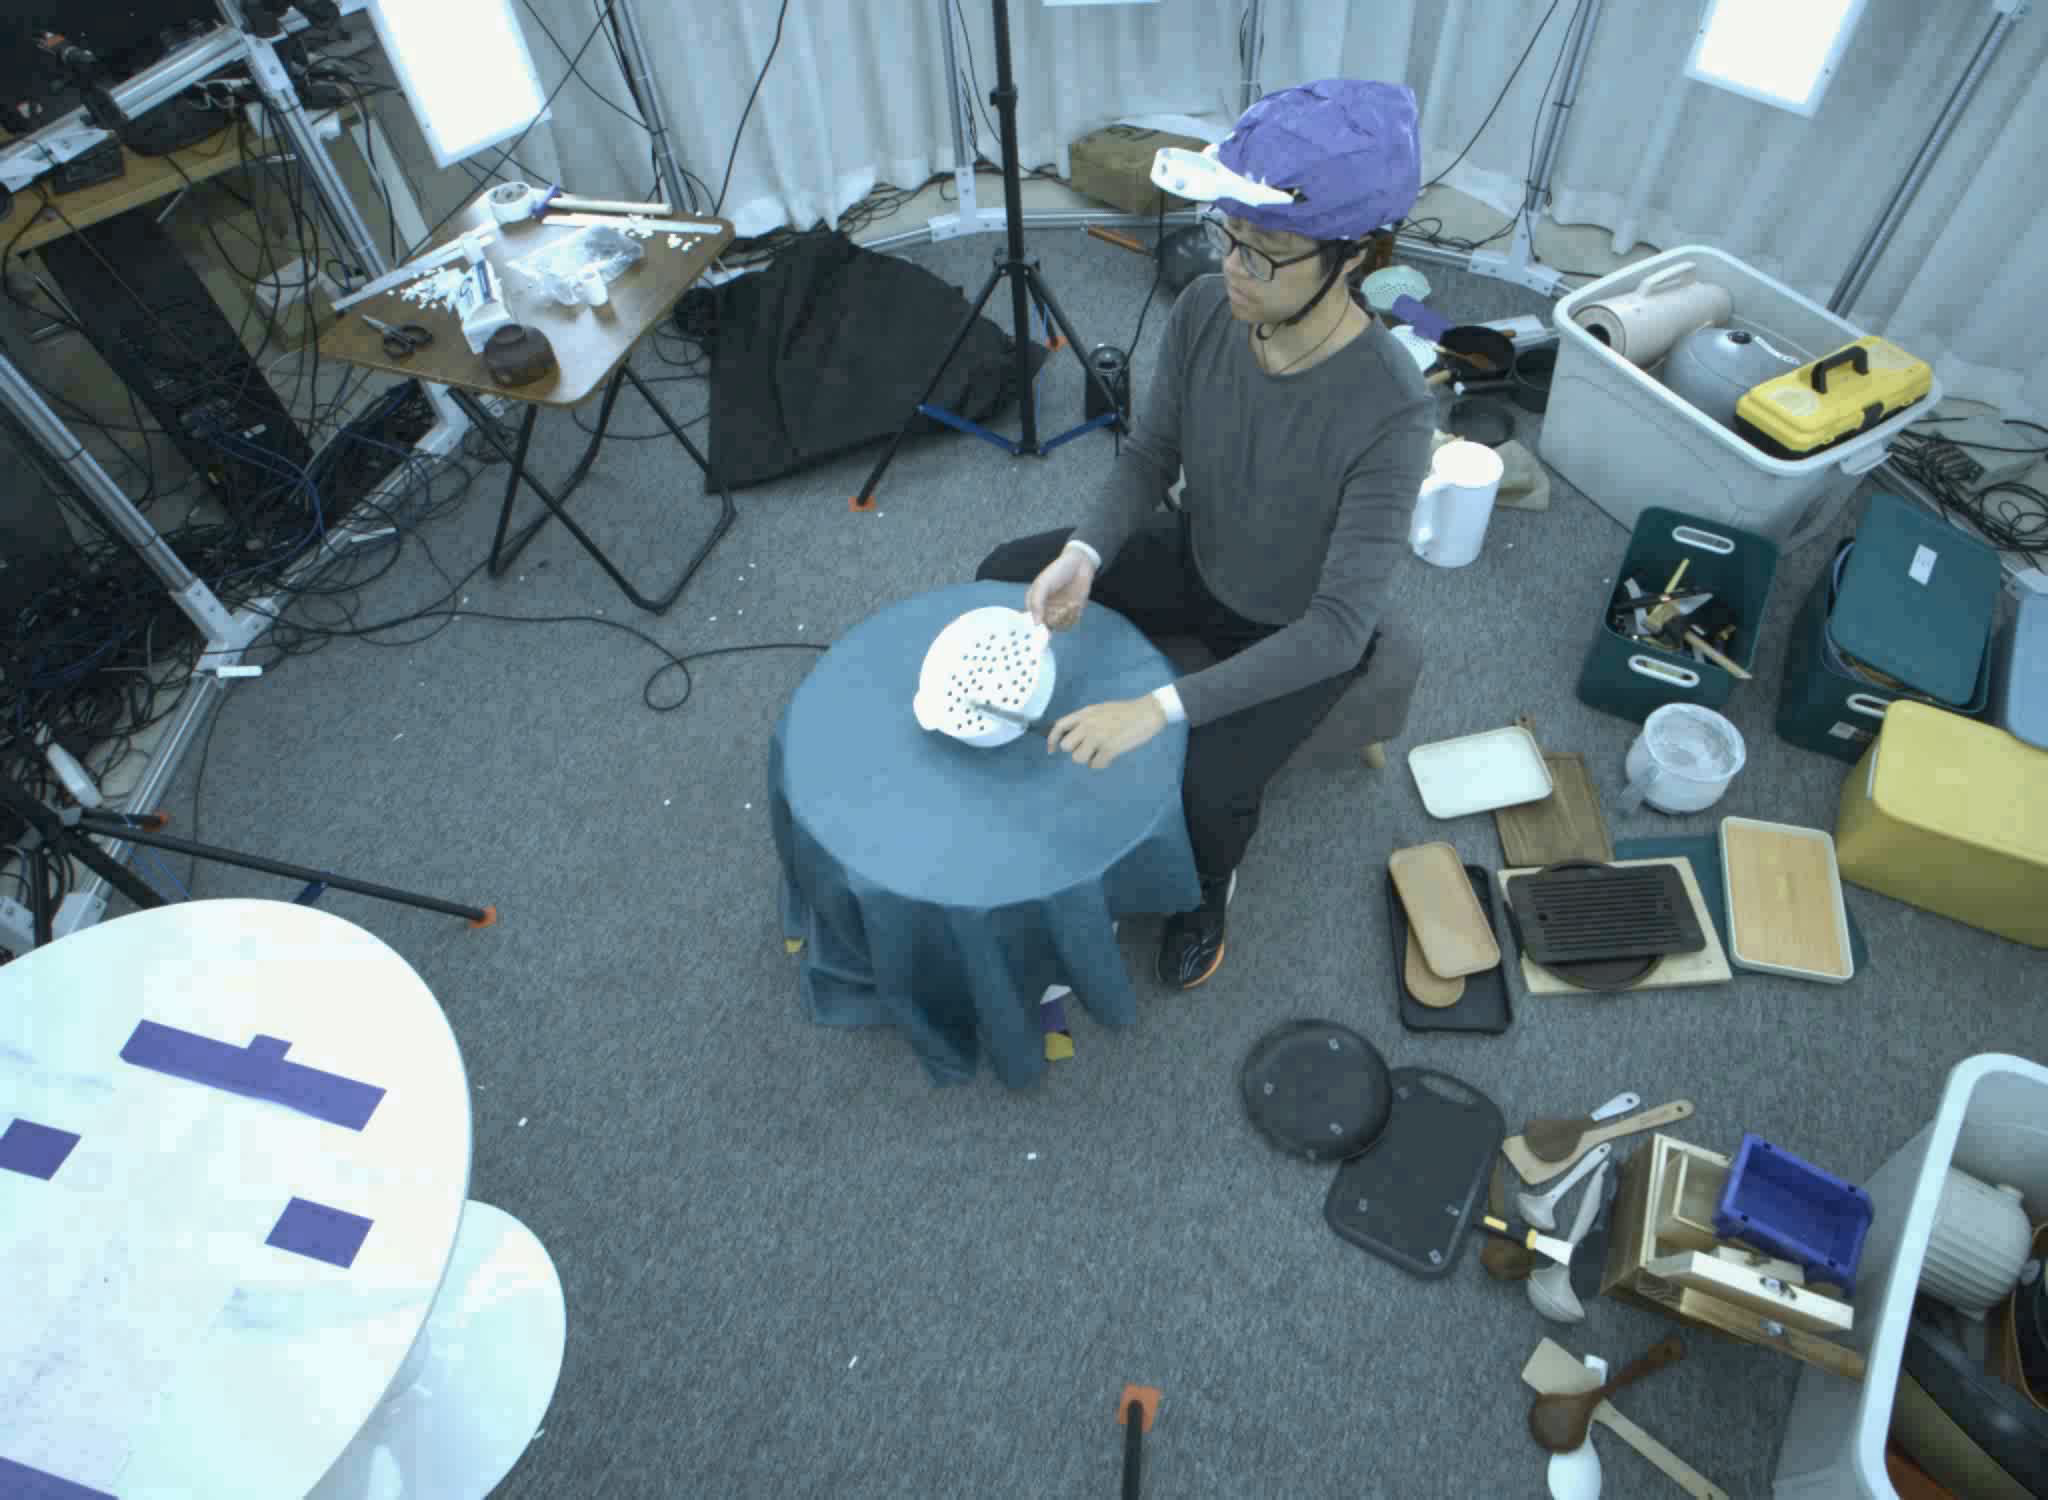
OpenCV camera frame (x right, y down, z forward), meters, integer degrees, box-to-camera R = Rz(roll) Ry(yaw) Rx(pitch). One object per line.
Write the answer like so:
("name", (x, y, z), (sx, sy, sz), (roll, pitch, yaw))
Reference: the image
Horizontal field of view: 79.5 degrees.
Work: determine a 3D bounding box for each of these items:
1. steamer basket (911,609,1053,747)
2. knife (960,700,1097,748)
("steamer basket", (-0.055, -0.102, 1.787), (0.229, 0.071, 0.198), (-35, 60, 11))
("knife", (0.003, -0.042, 1.690), (0.233, 0.016, 0.024), (18, 78, 33))
